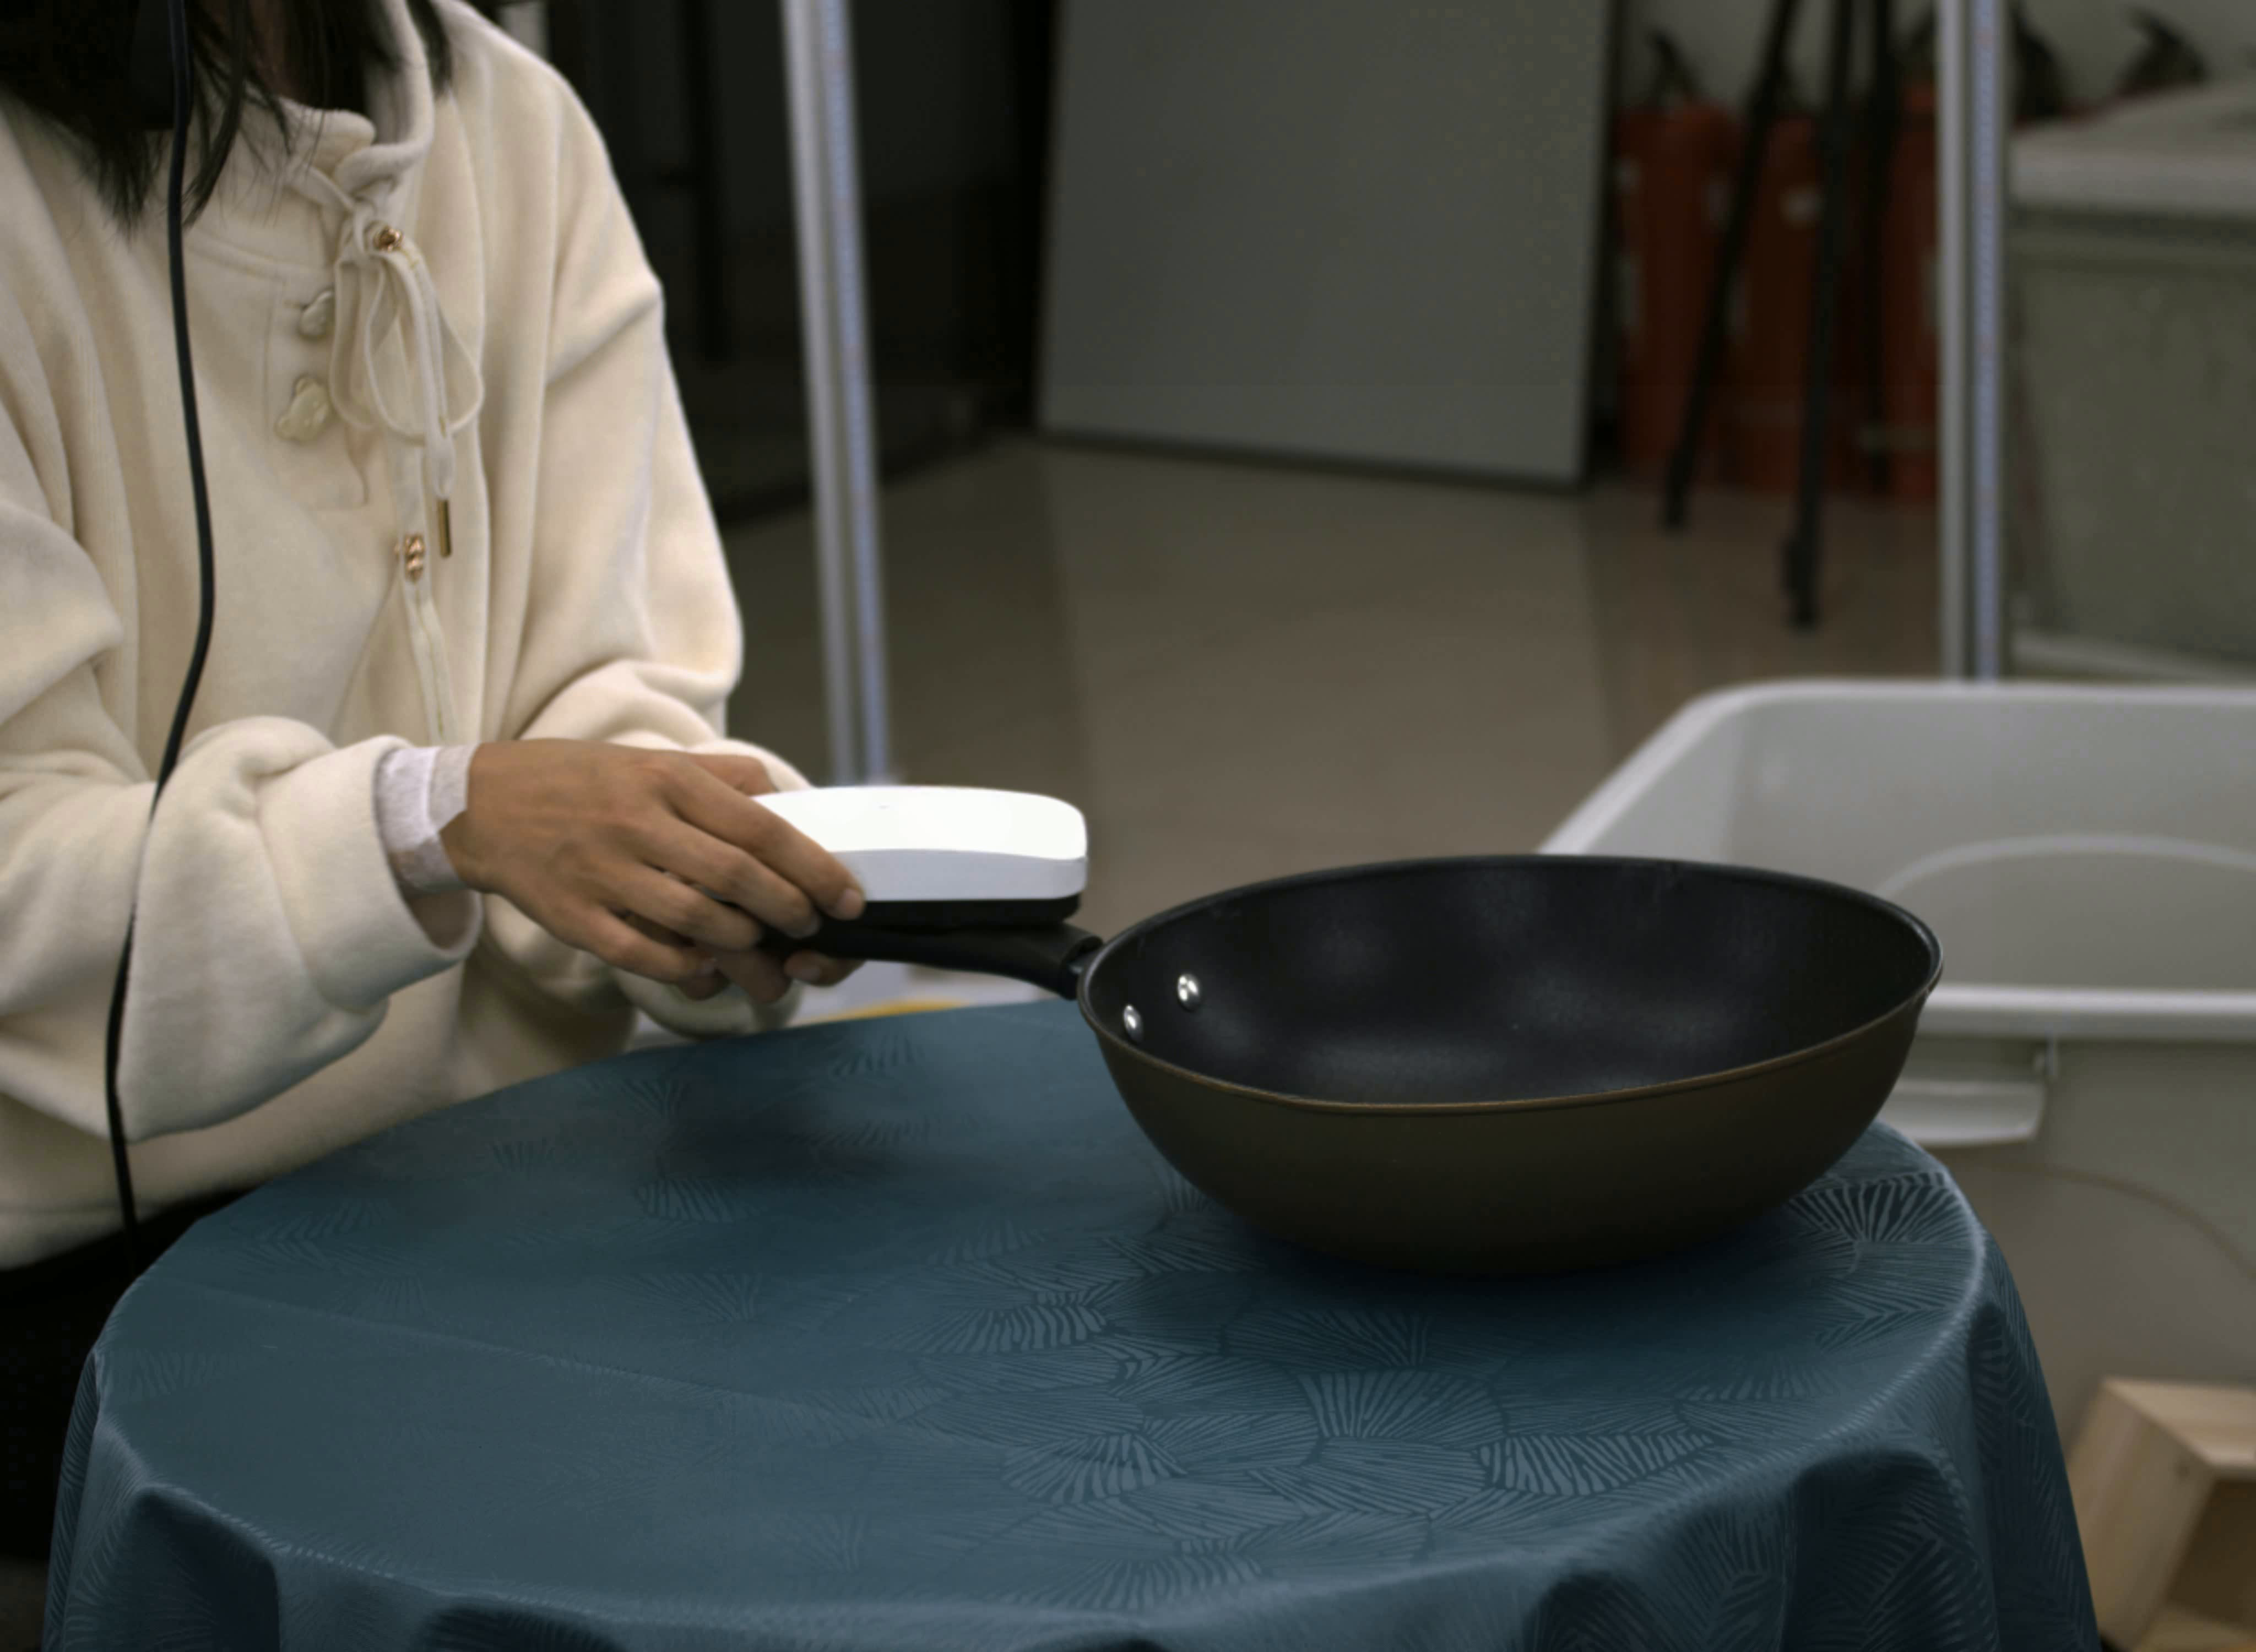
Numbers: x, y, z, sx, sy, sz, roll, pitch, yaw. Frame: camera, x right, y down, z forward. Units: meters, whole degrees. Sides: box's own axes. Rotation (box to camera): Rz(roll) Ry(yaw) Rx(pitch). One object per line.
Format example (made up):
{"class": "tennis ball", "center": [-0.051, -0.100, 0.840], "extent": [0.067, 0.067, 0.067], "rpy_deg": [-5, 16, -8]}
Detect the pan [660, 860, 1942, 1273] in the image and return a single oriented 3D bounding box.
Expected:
{"class": "pan", "center": [0.043, 0.076, 1.765], "extent": [0.465, 0.088, 0.284], "rpy_deg": [3, 15, 29]}

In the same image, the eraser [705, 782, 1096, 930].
{"class": "eraser", "center": [-0.076, 0.010, 1.804], "extent": [0.129, 0.035, 0.063], "rpy_deg": [-1, 17, -3]}
